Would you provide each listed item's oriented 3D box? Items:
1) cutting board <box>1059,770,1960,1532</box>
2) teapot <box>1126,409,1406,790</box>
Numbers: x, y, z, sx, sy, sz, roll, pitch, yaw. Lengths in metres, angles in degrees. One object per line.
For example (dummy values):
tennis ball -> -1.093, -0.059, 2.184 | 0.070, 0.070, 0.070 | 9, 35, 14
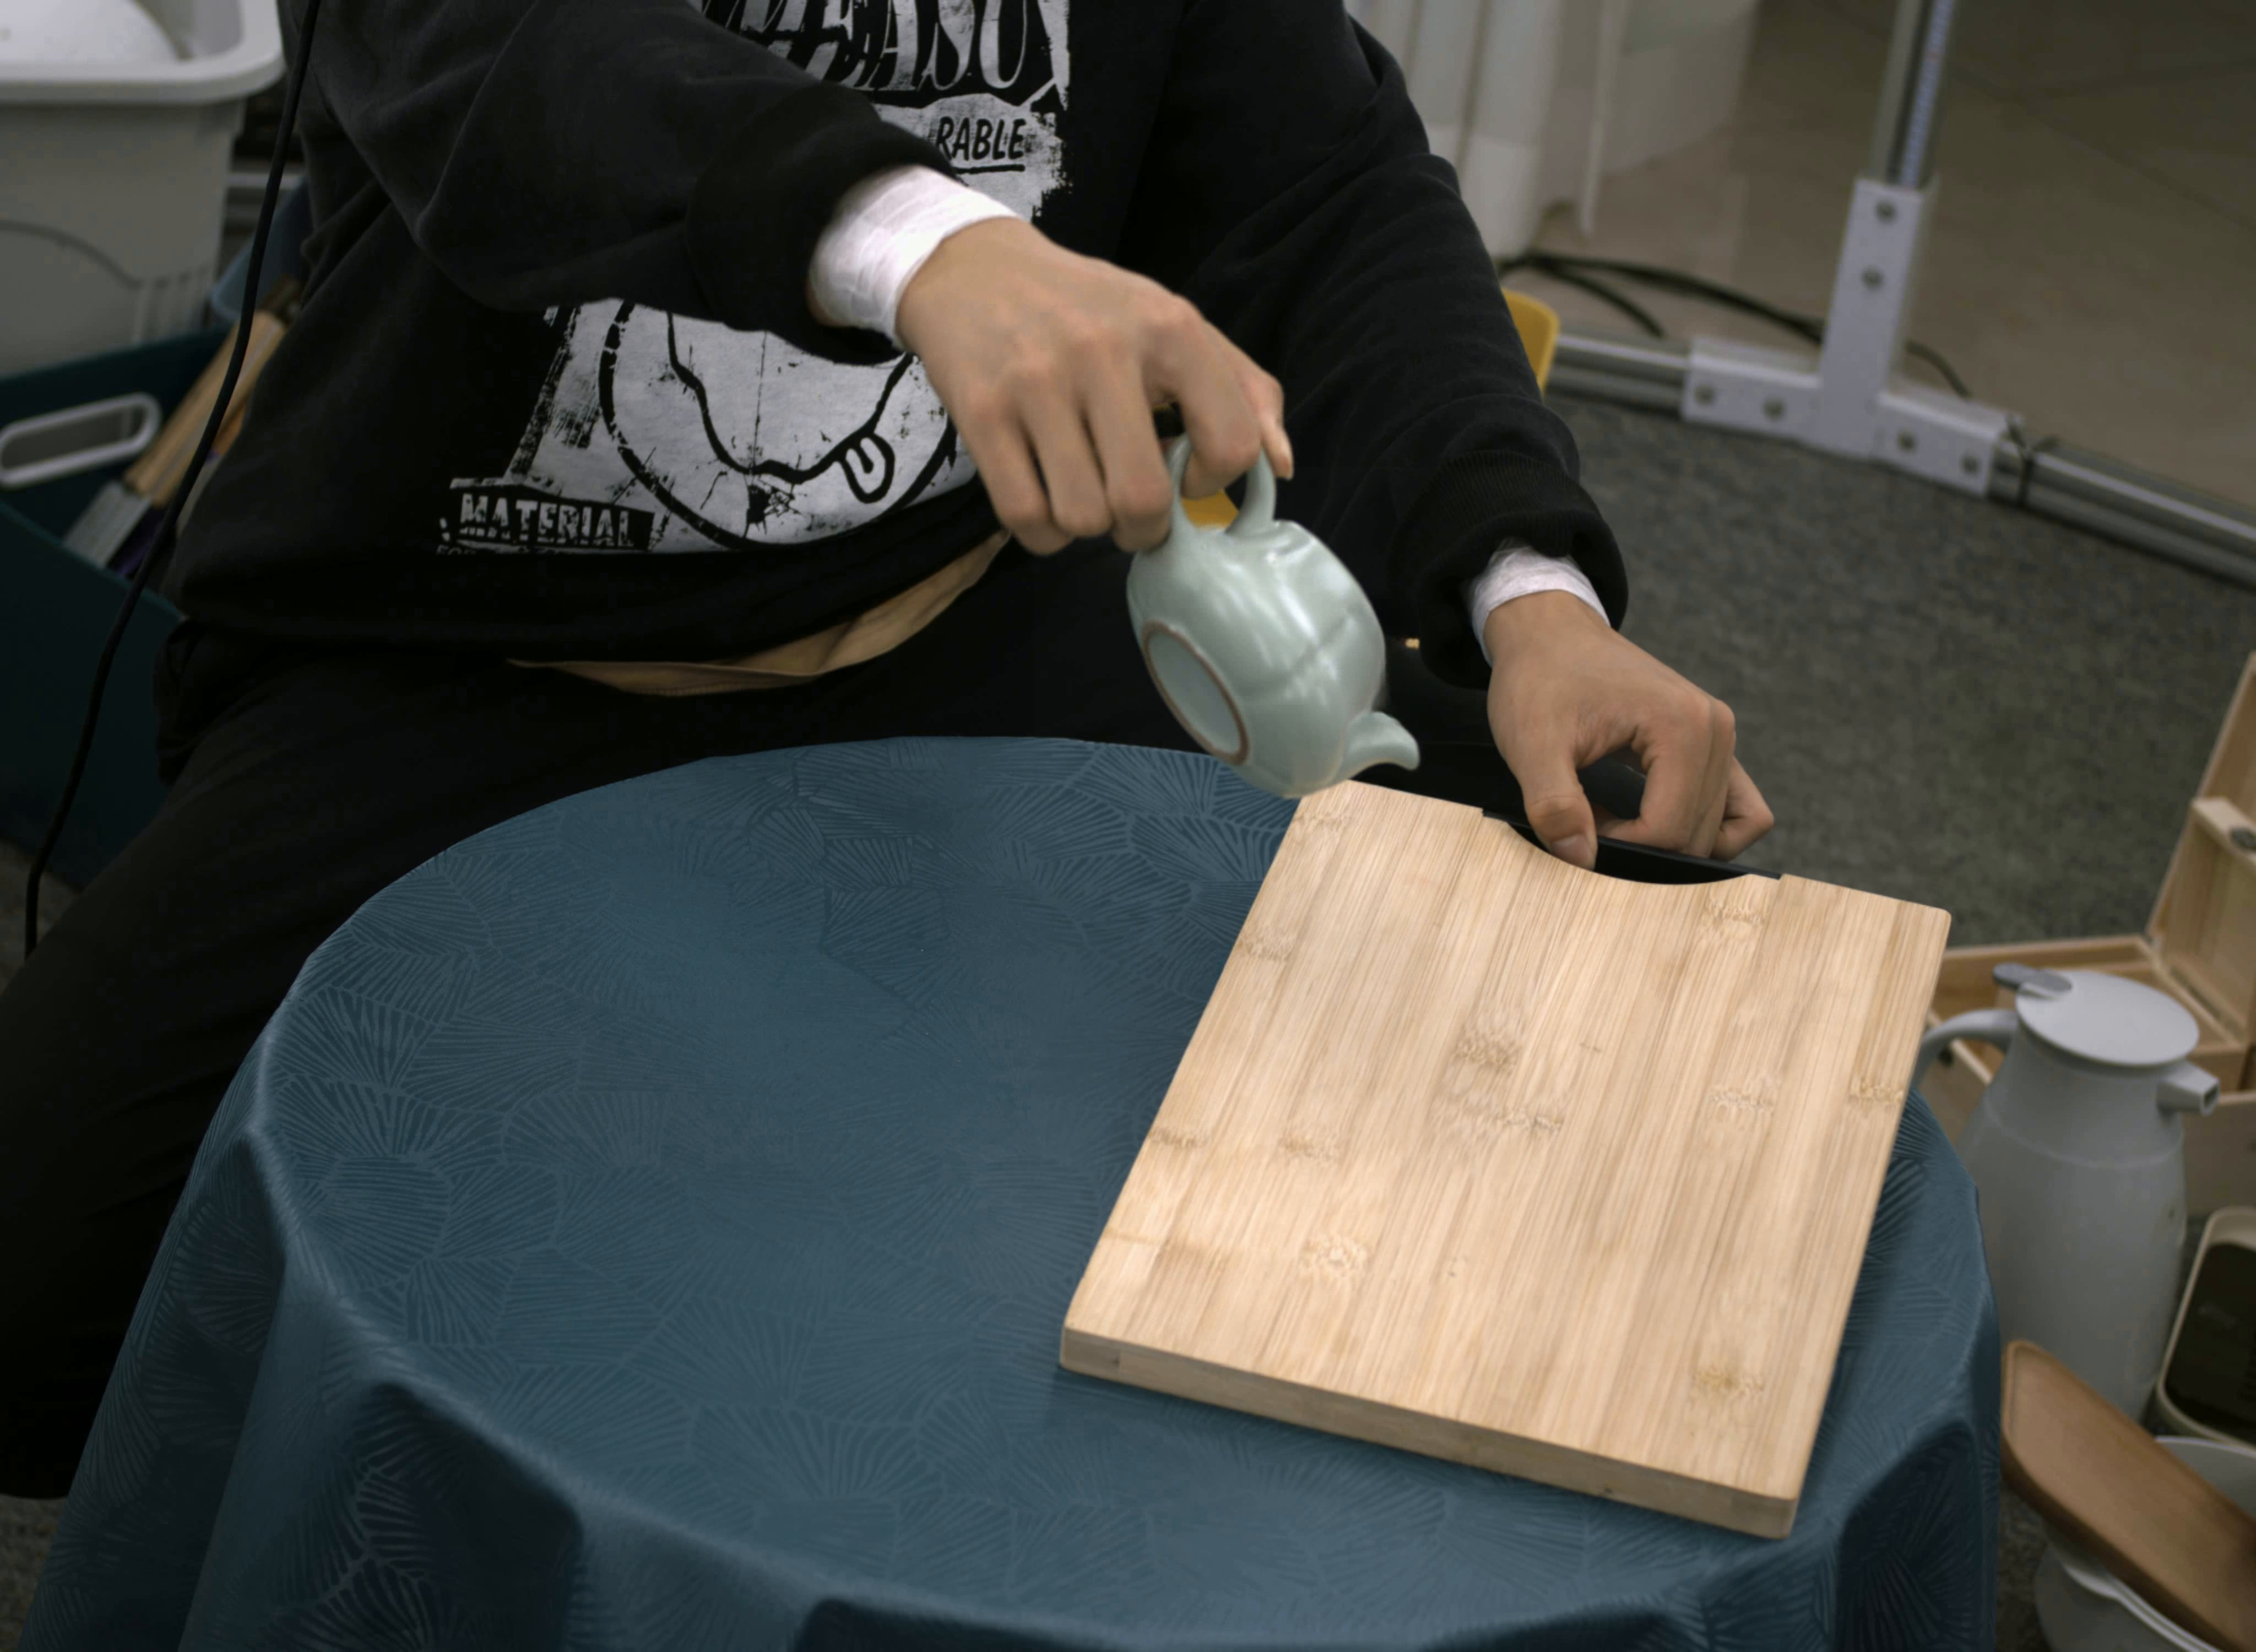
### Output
cutting board -> 0.139, 0.100, 1.816 | 0.251, 0.023, 0.350 | 12, 35, 10
teapot -> 0.041, -0.065, 1.697 | 0.061, 0.136, 0.097 | -32, 20, -20
